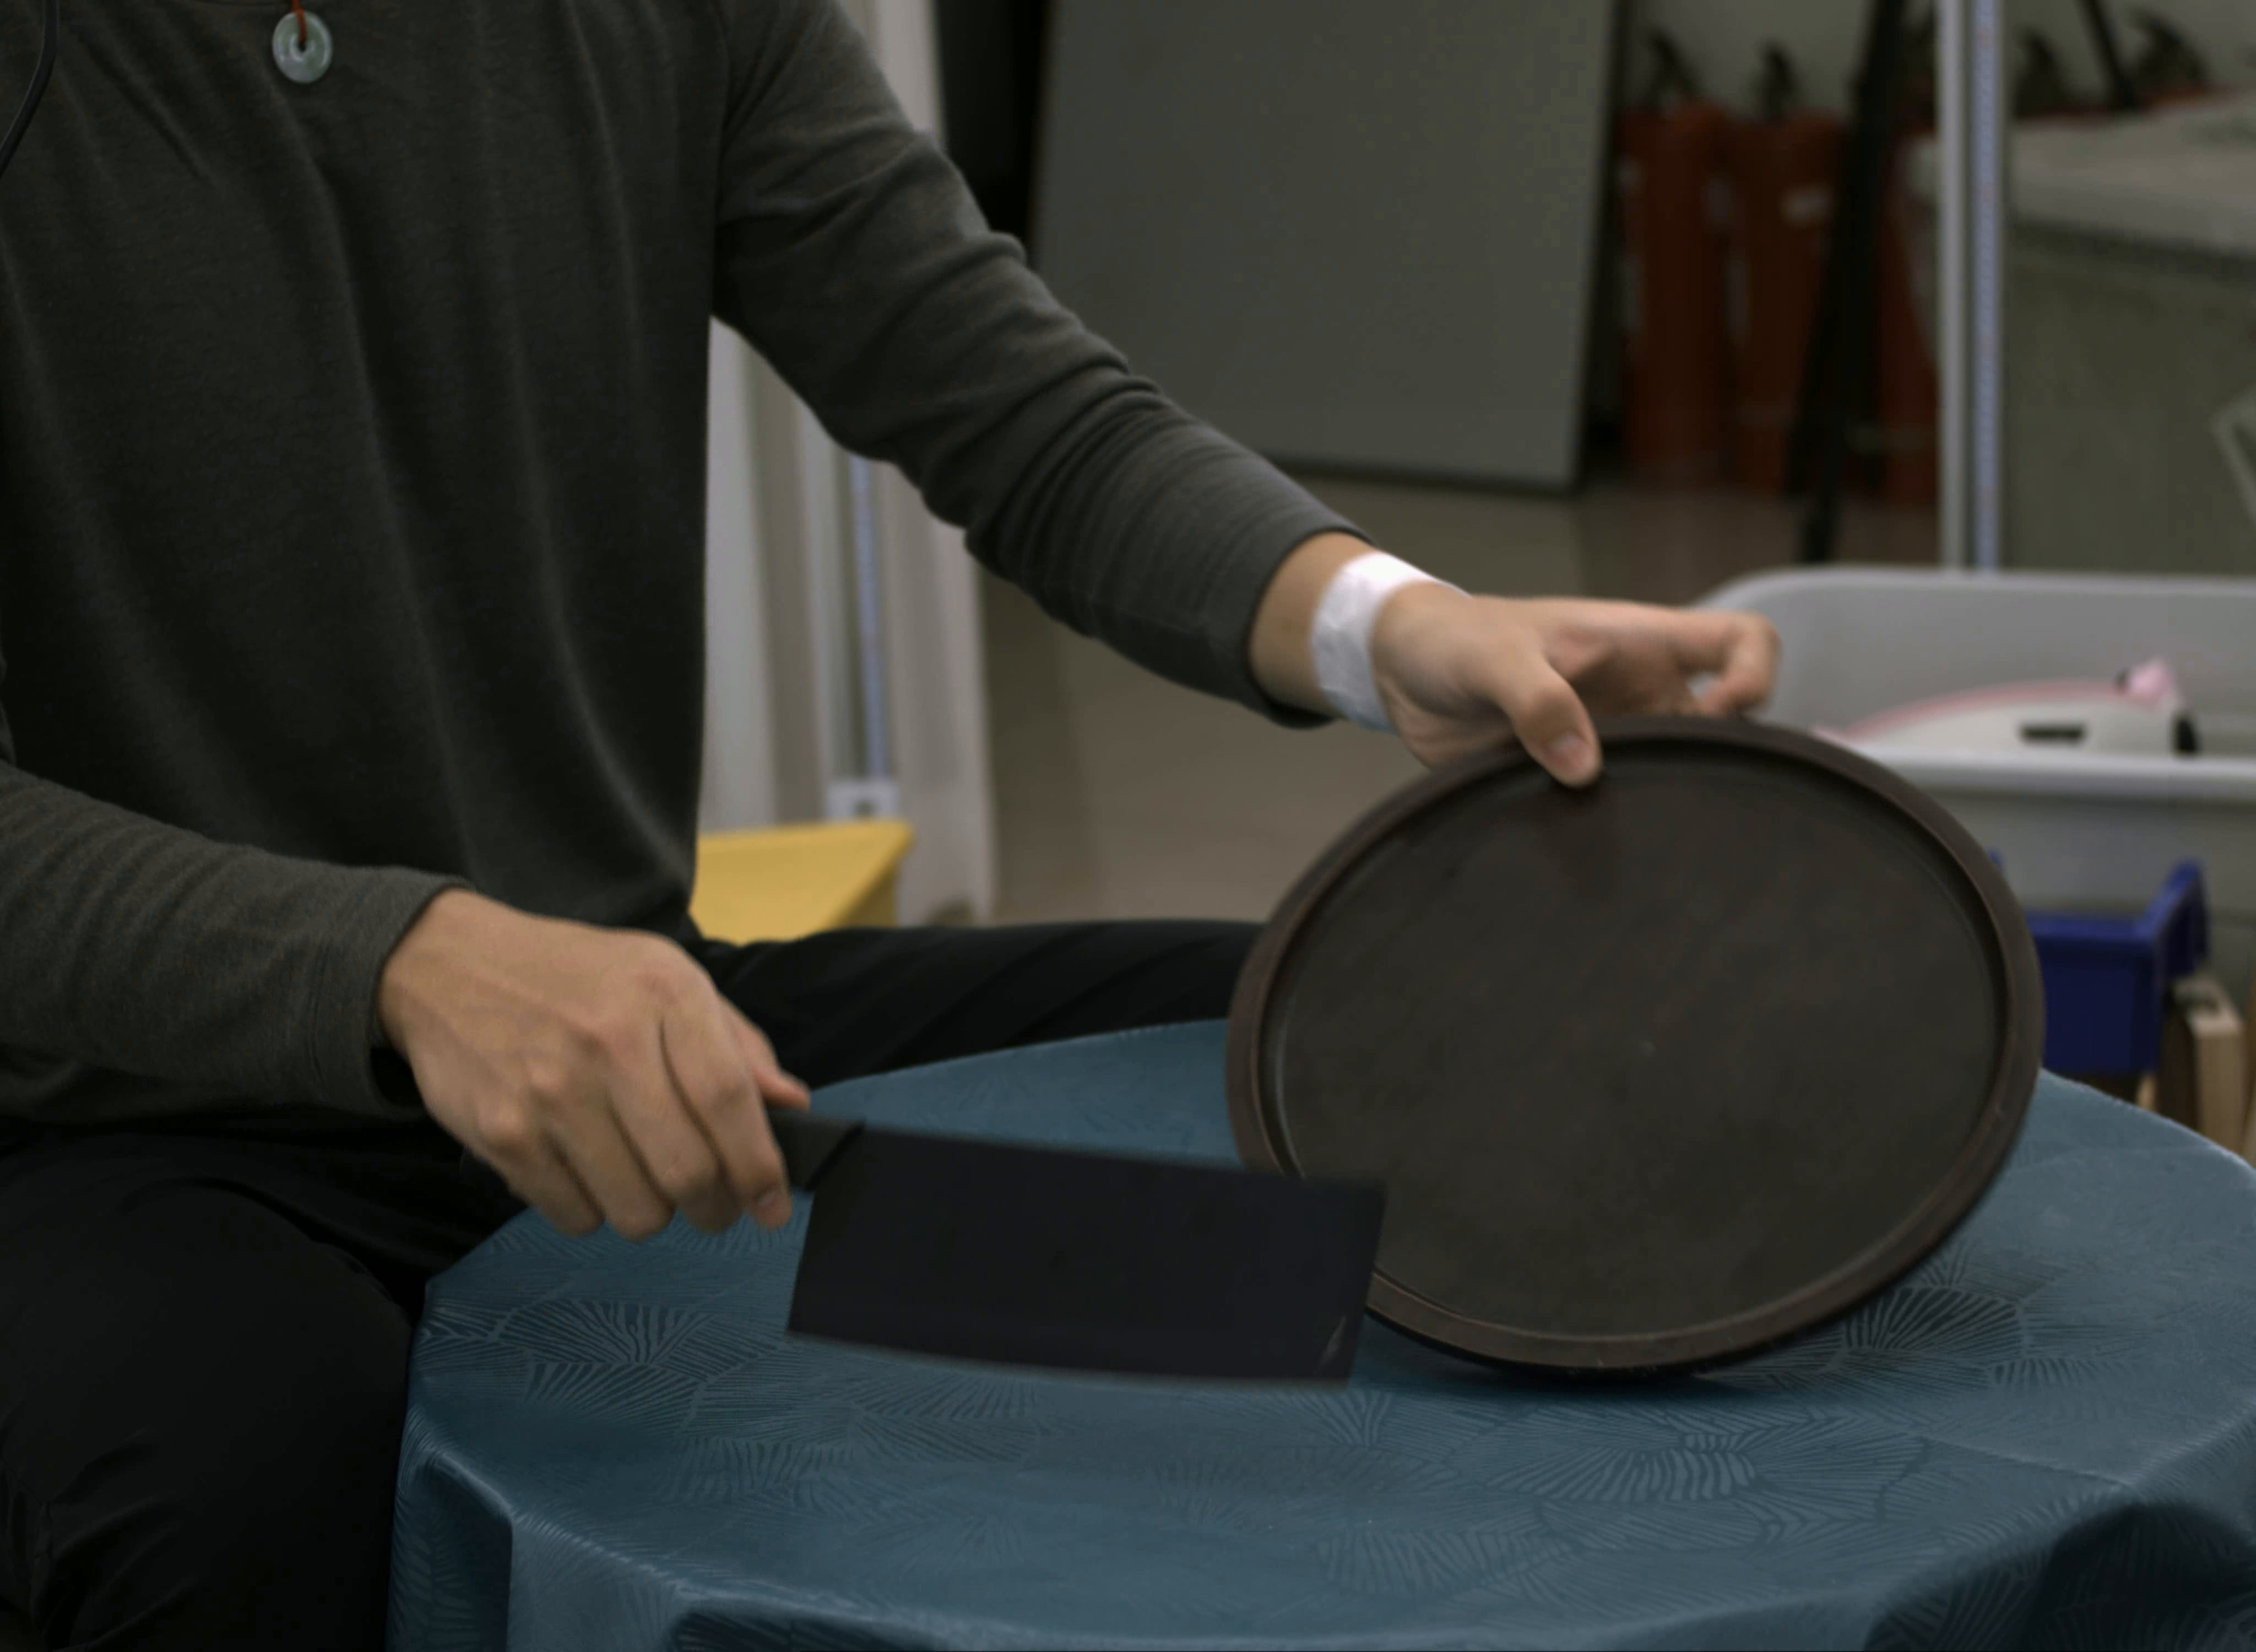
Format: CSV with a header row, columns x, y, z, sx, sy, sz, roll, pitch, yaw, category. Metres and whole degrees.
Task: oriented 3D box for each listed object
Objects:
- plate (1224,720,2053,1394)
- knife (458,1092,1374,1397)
x,y,z,sx,sy,sz,roll,pitch,yaw,category
0.154,0.068,1.633,0.253,0.029,0.257,-8,49,8,plate
-0.067,0.116,1.543,0.303,0.081,0.020,9,-16,31,knife
